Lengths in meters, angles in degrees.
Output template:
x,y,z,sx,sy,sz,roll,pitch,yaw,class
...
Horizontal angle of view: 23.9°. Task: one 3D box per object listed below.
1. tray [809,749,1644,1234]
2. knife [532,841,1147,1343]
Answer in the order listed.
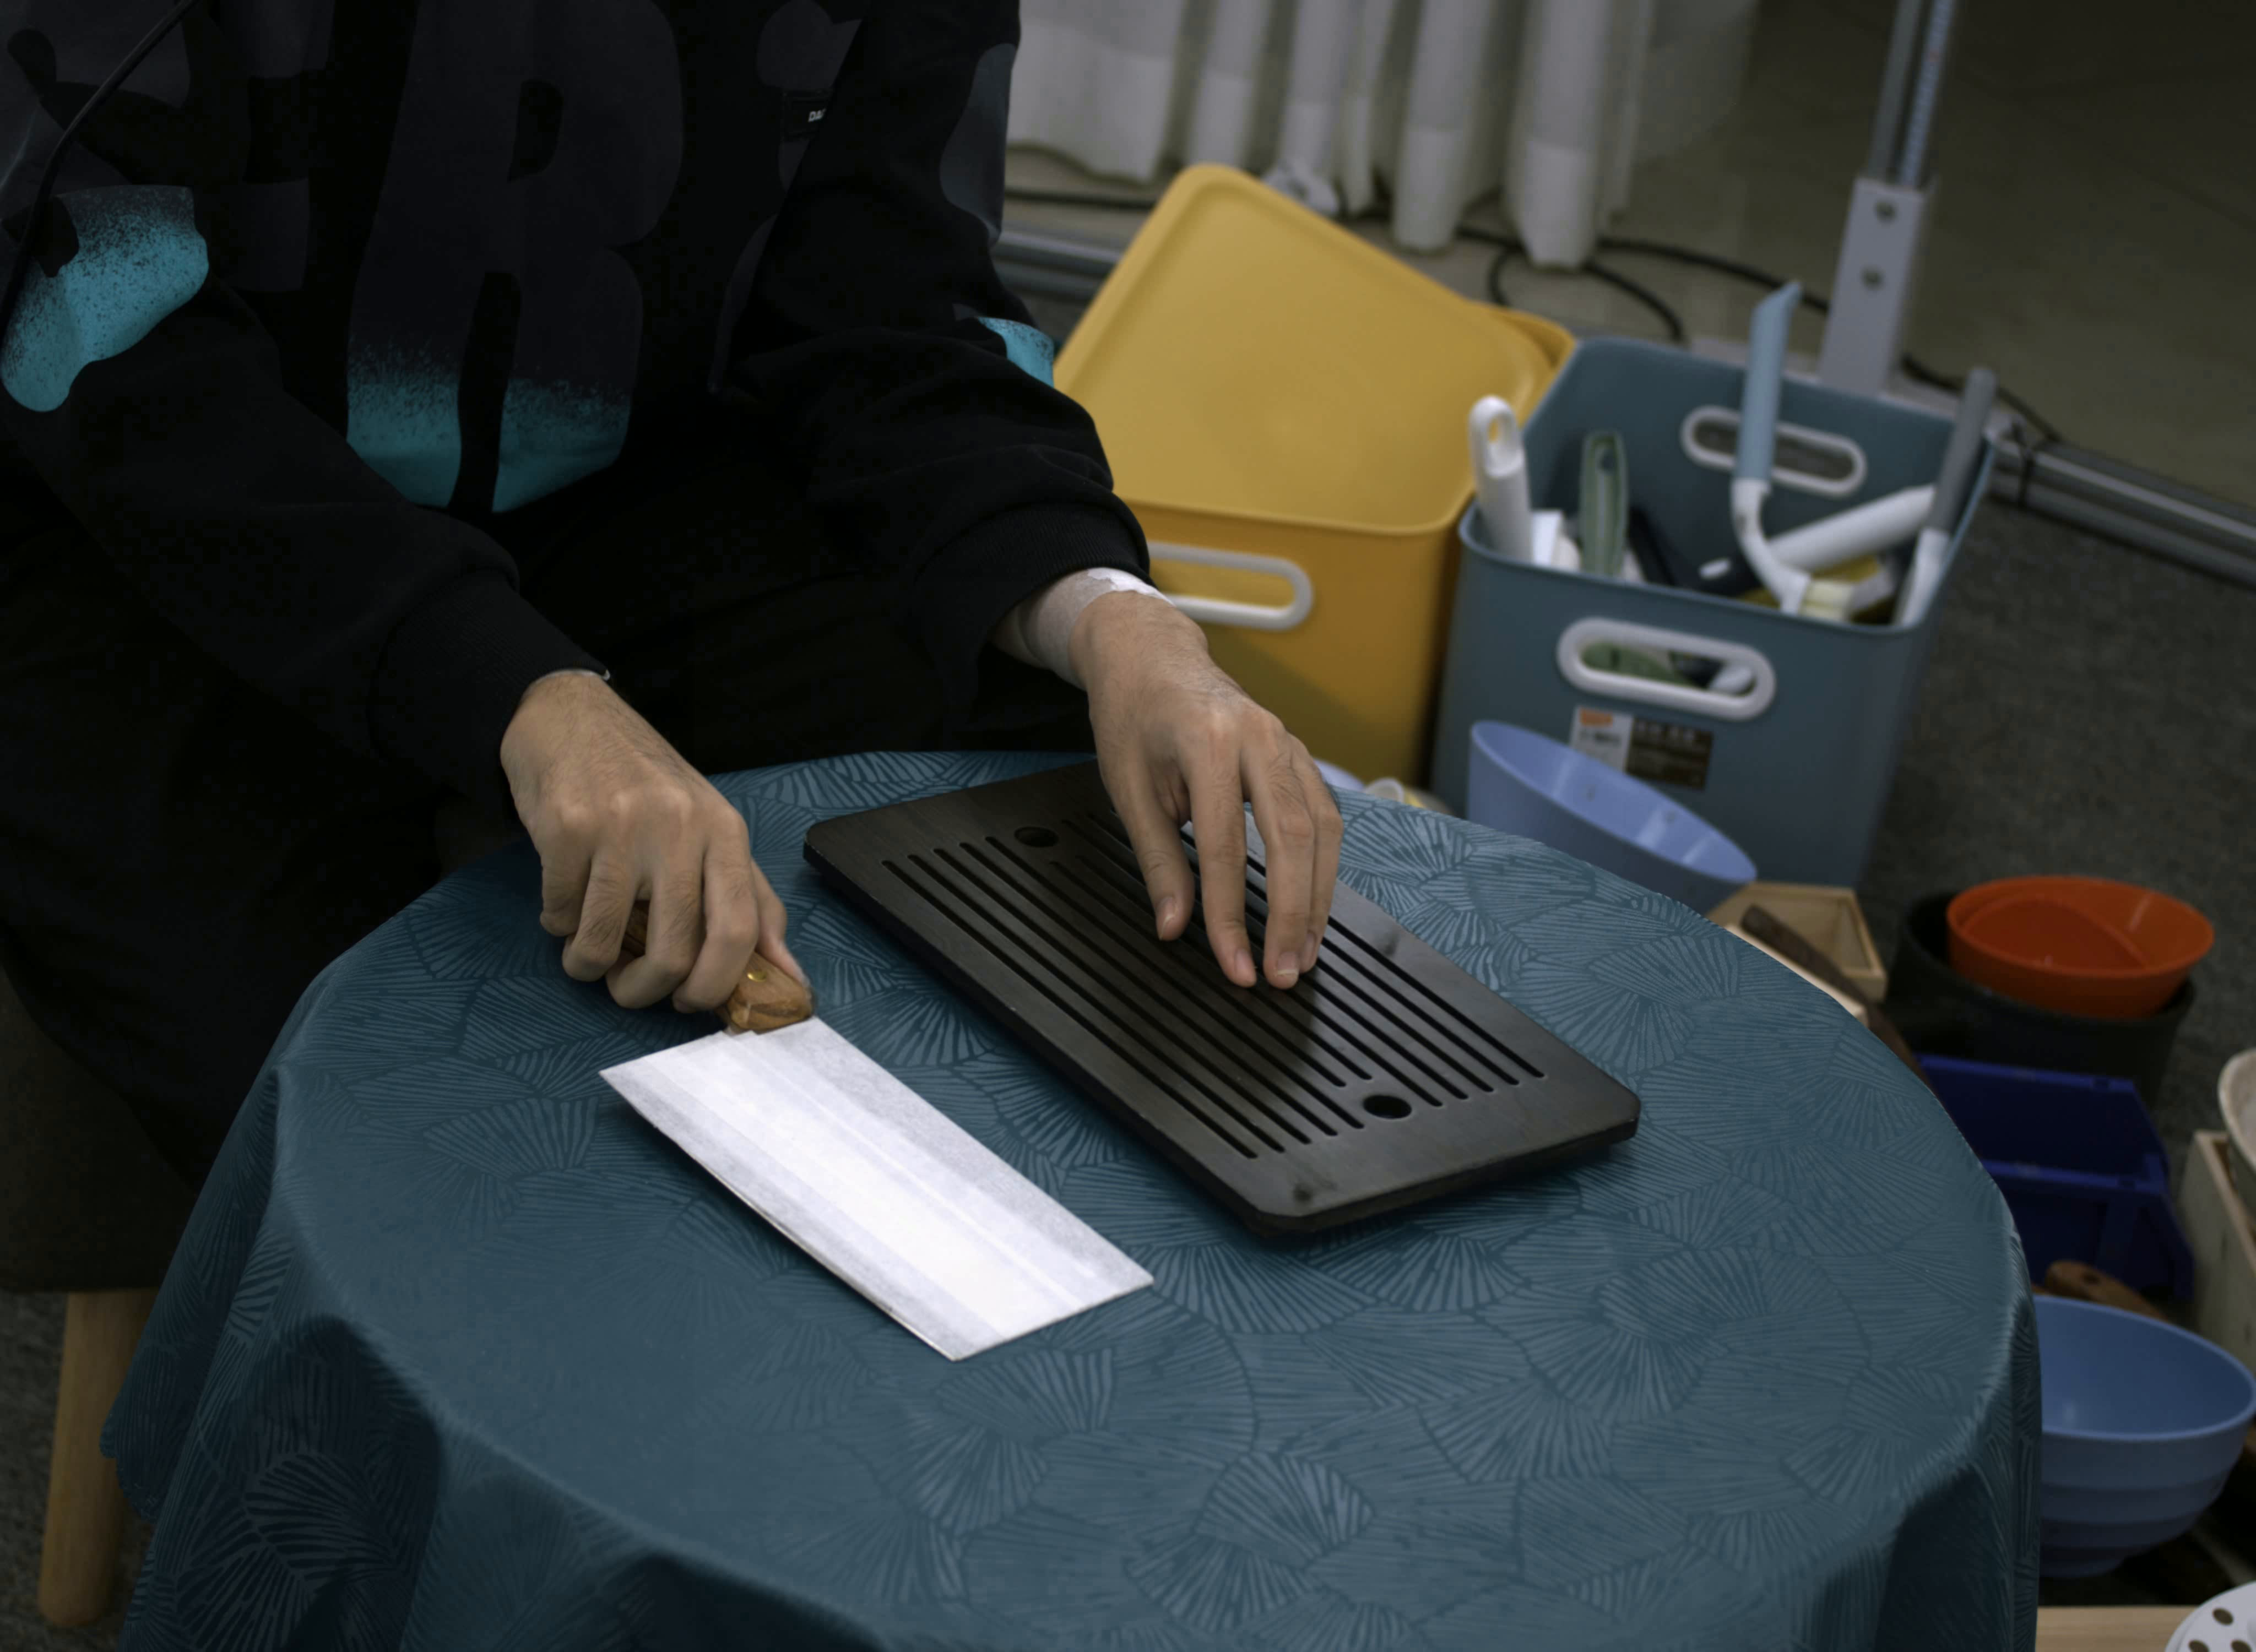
x,y,z,sx,sy,sz,roll,pitch,yaw,class
0.030,0.056,1.921,0.169,0.018,0.308,-13,33,-33,tray
-0.122,0.090,1.816,0.092,0.021,0.308,-18,40,-39,knife
